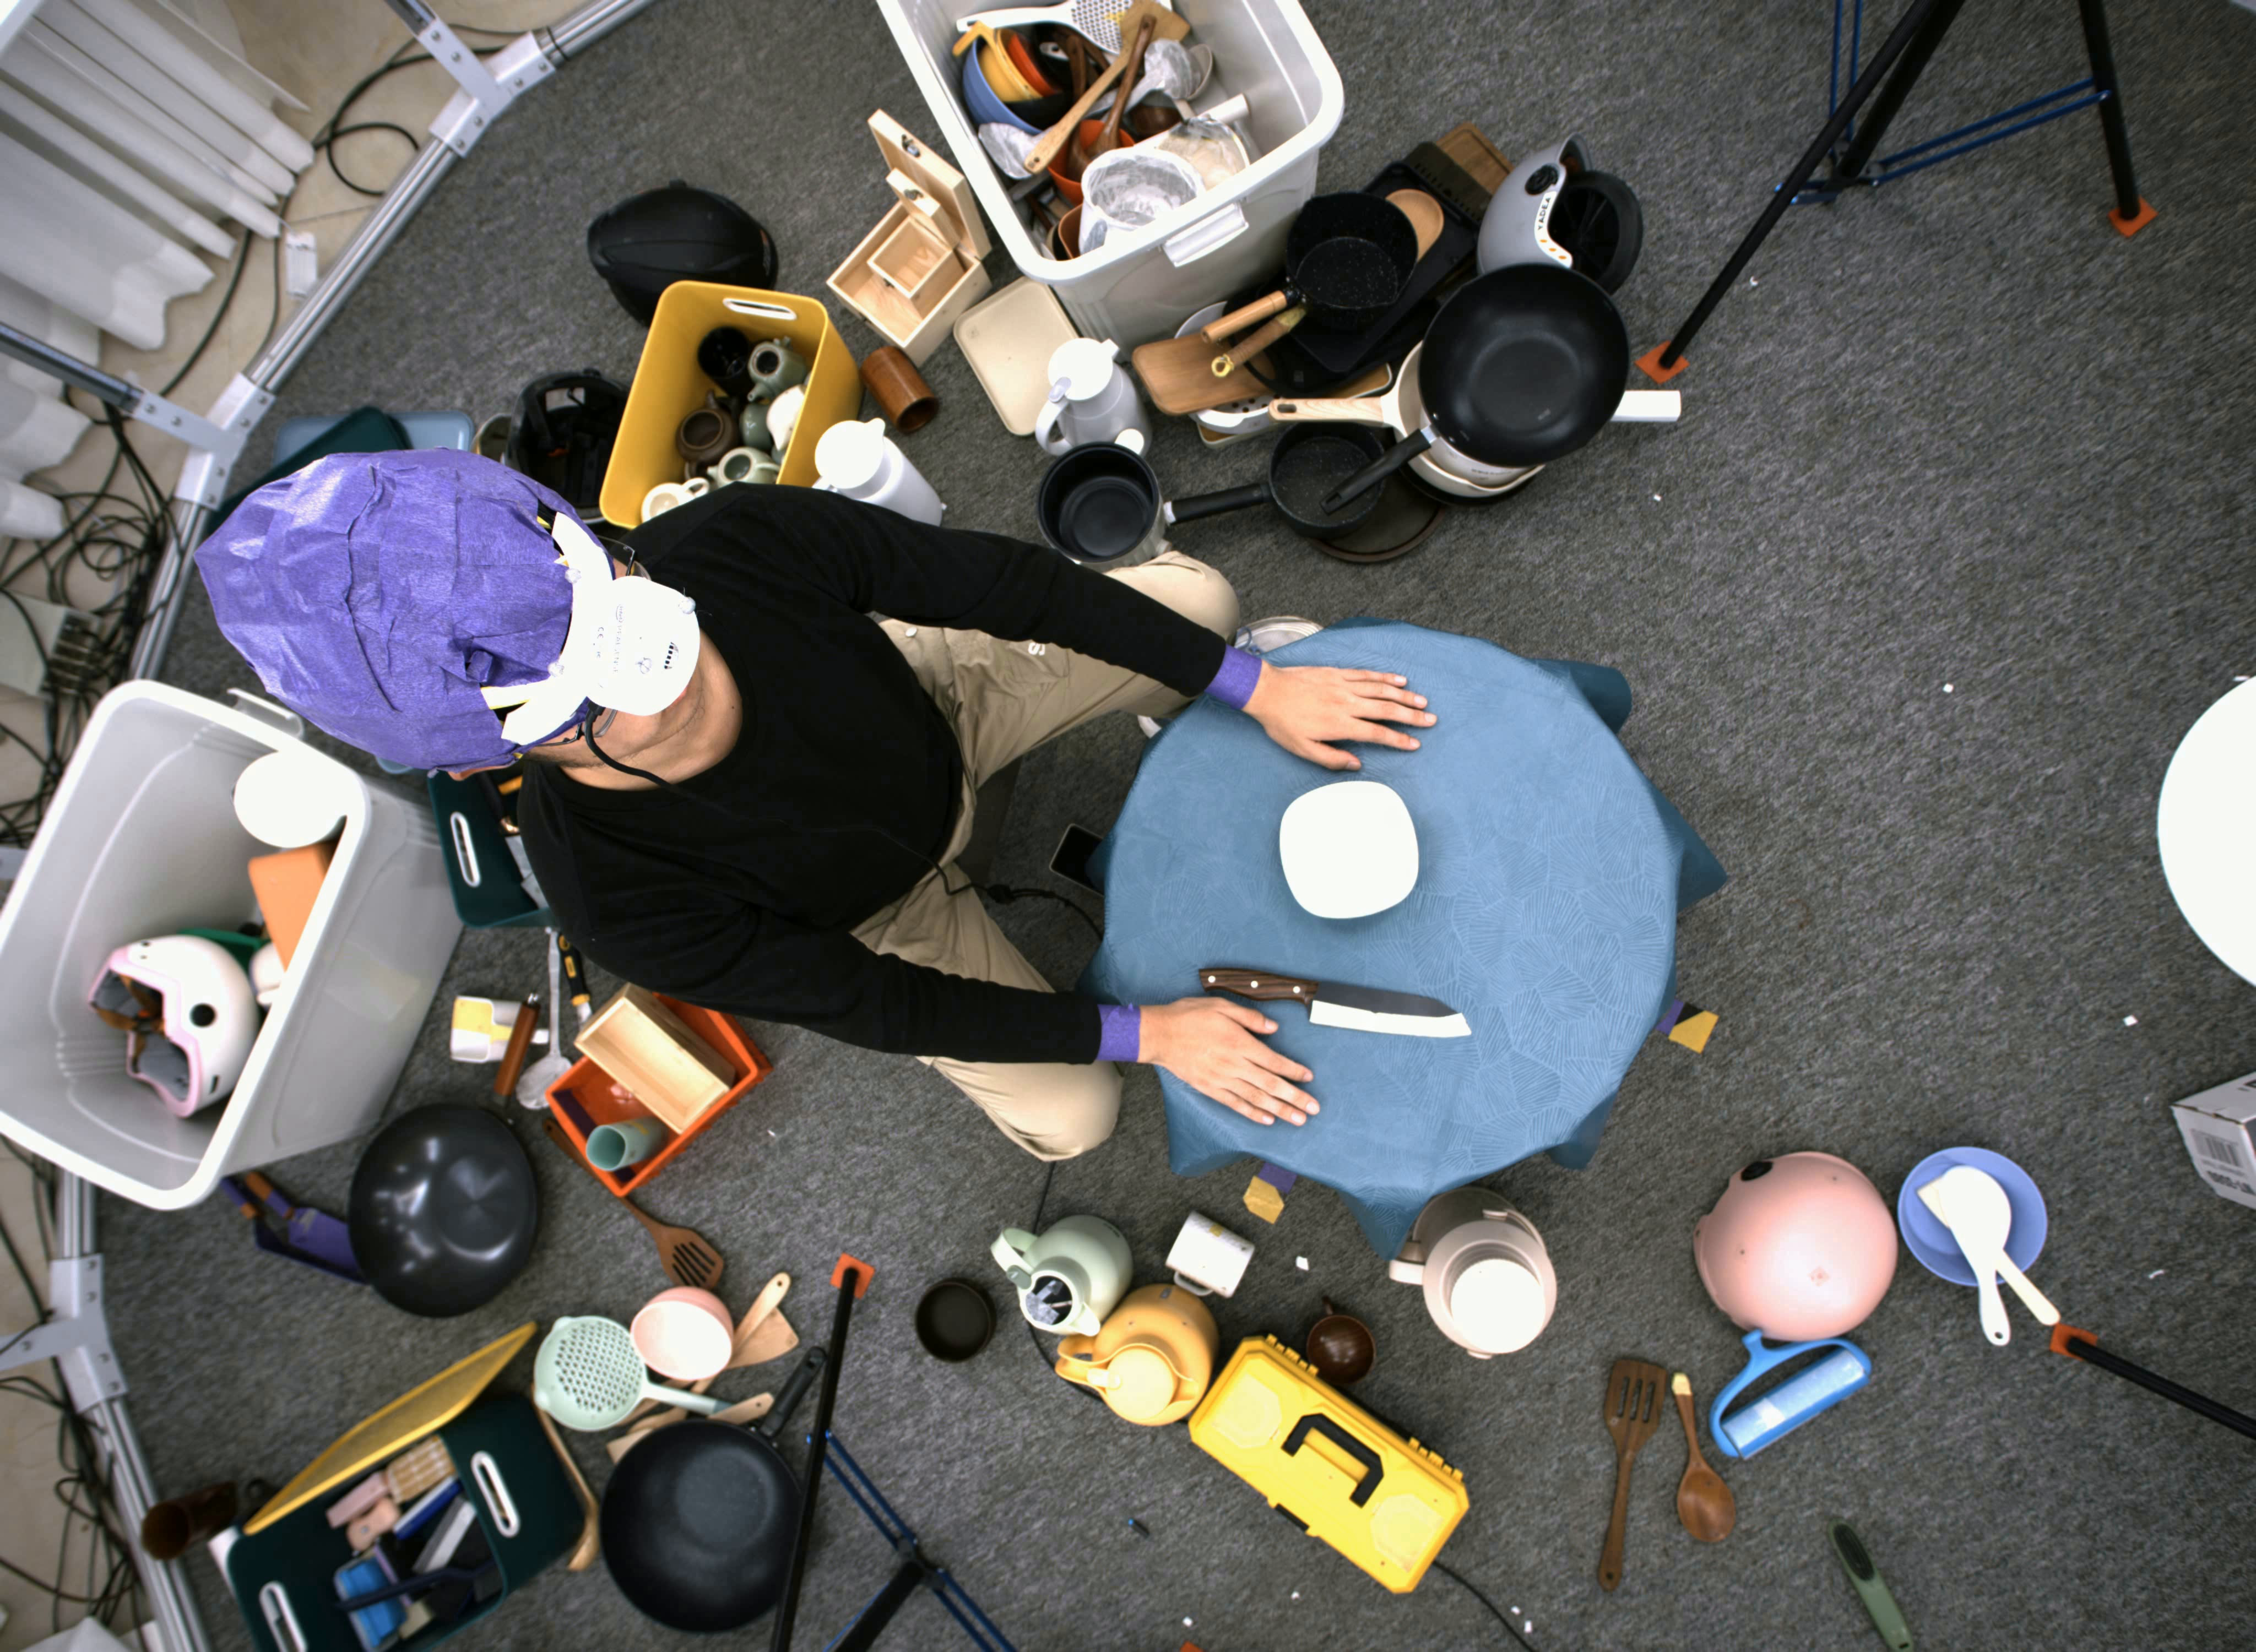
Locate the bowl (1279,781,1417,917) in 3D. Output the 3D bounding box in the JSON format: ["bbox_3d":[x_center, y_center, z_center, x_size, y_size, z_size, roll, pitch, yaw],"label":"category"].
[{"bbox_3d":[0.230,0.025,1.443,0.152,0.058,0.151,-1,87,9],"label":"bowl"}]

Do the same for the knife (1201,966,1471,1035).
[{"bbox_3d":[0.217,0.183,1.459,0.289,0.020,0.050,10,94,9],"label":"knife"}]
